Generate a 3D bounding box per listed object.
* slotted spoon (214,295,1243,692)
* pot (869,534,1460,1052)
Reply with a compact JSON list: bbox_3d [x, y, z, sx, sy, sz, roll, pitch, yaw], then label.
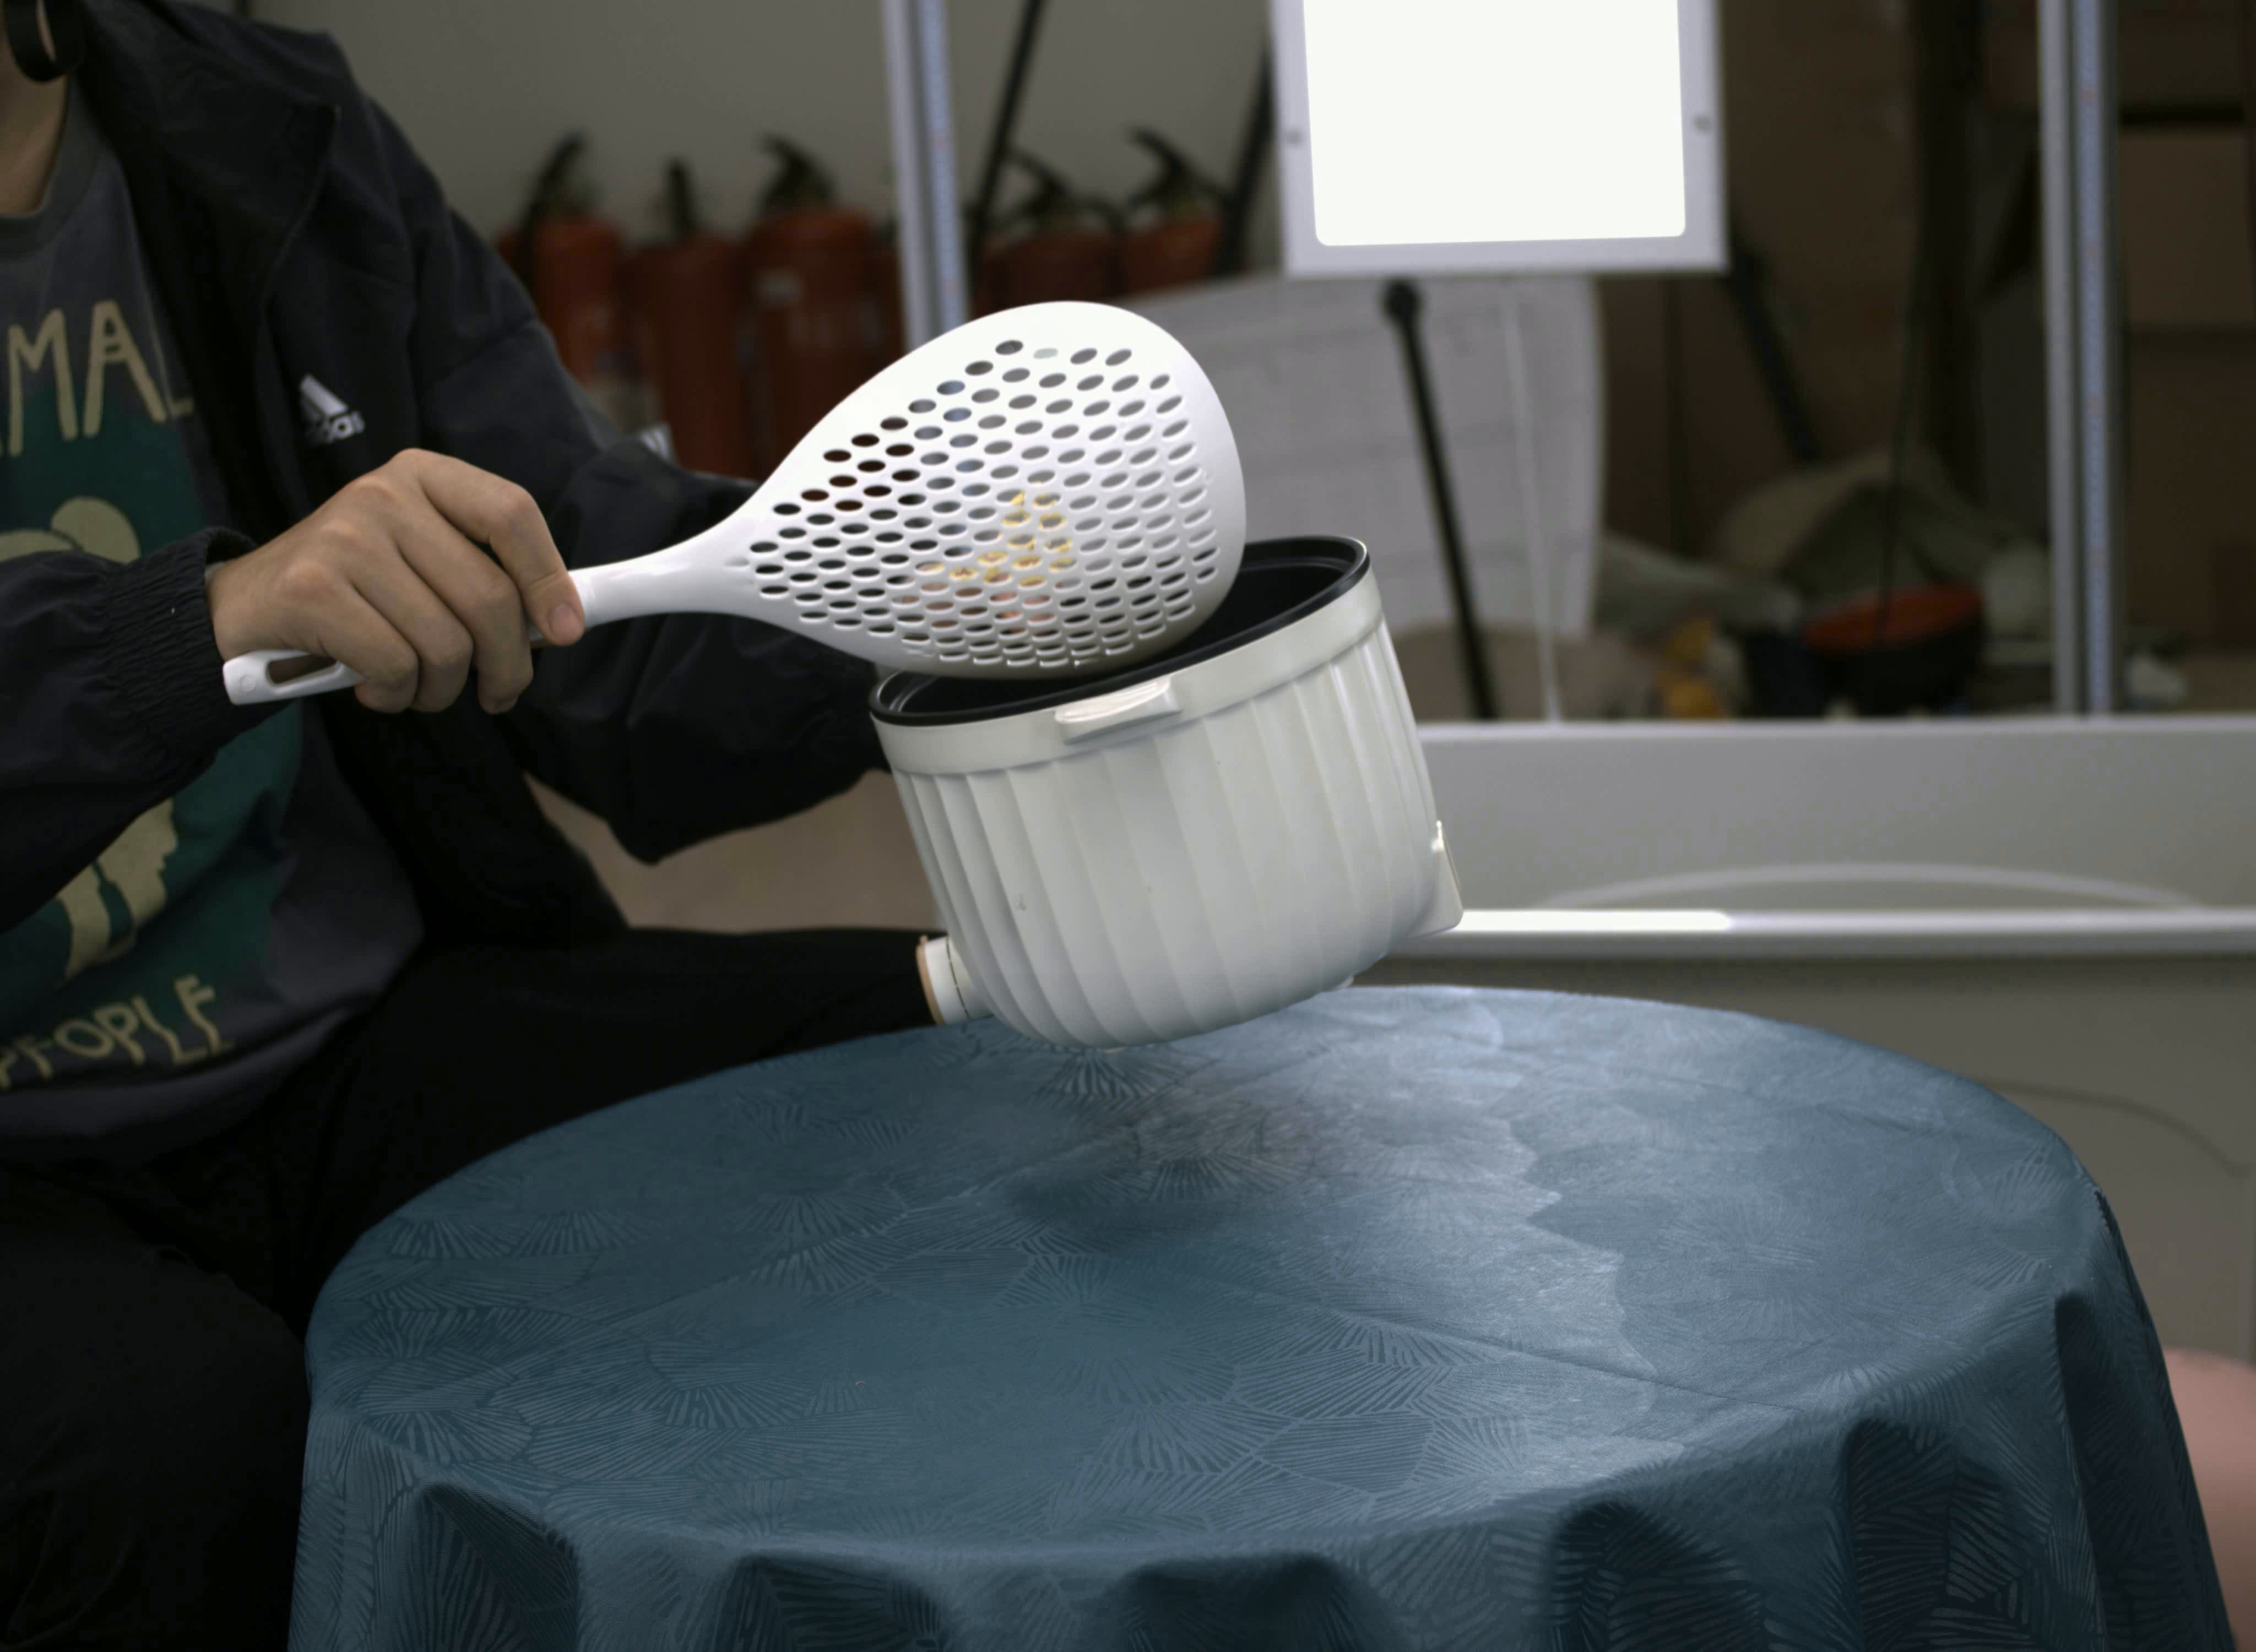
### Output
[{"bbox_3d":[-0.133,-0.084,1.846,0.349,0.137,0.050,-10,25,9],"label":"slotted spoon"},{"bbox_3d":[0.010,-0.007,1.909,0.191,0.143,0.239,-13,12,6],"label":"pot"}]
